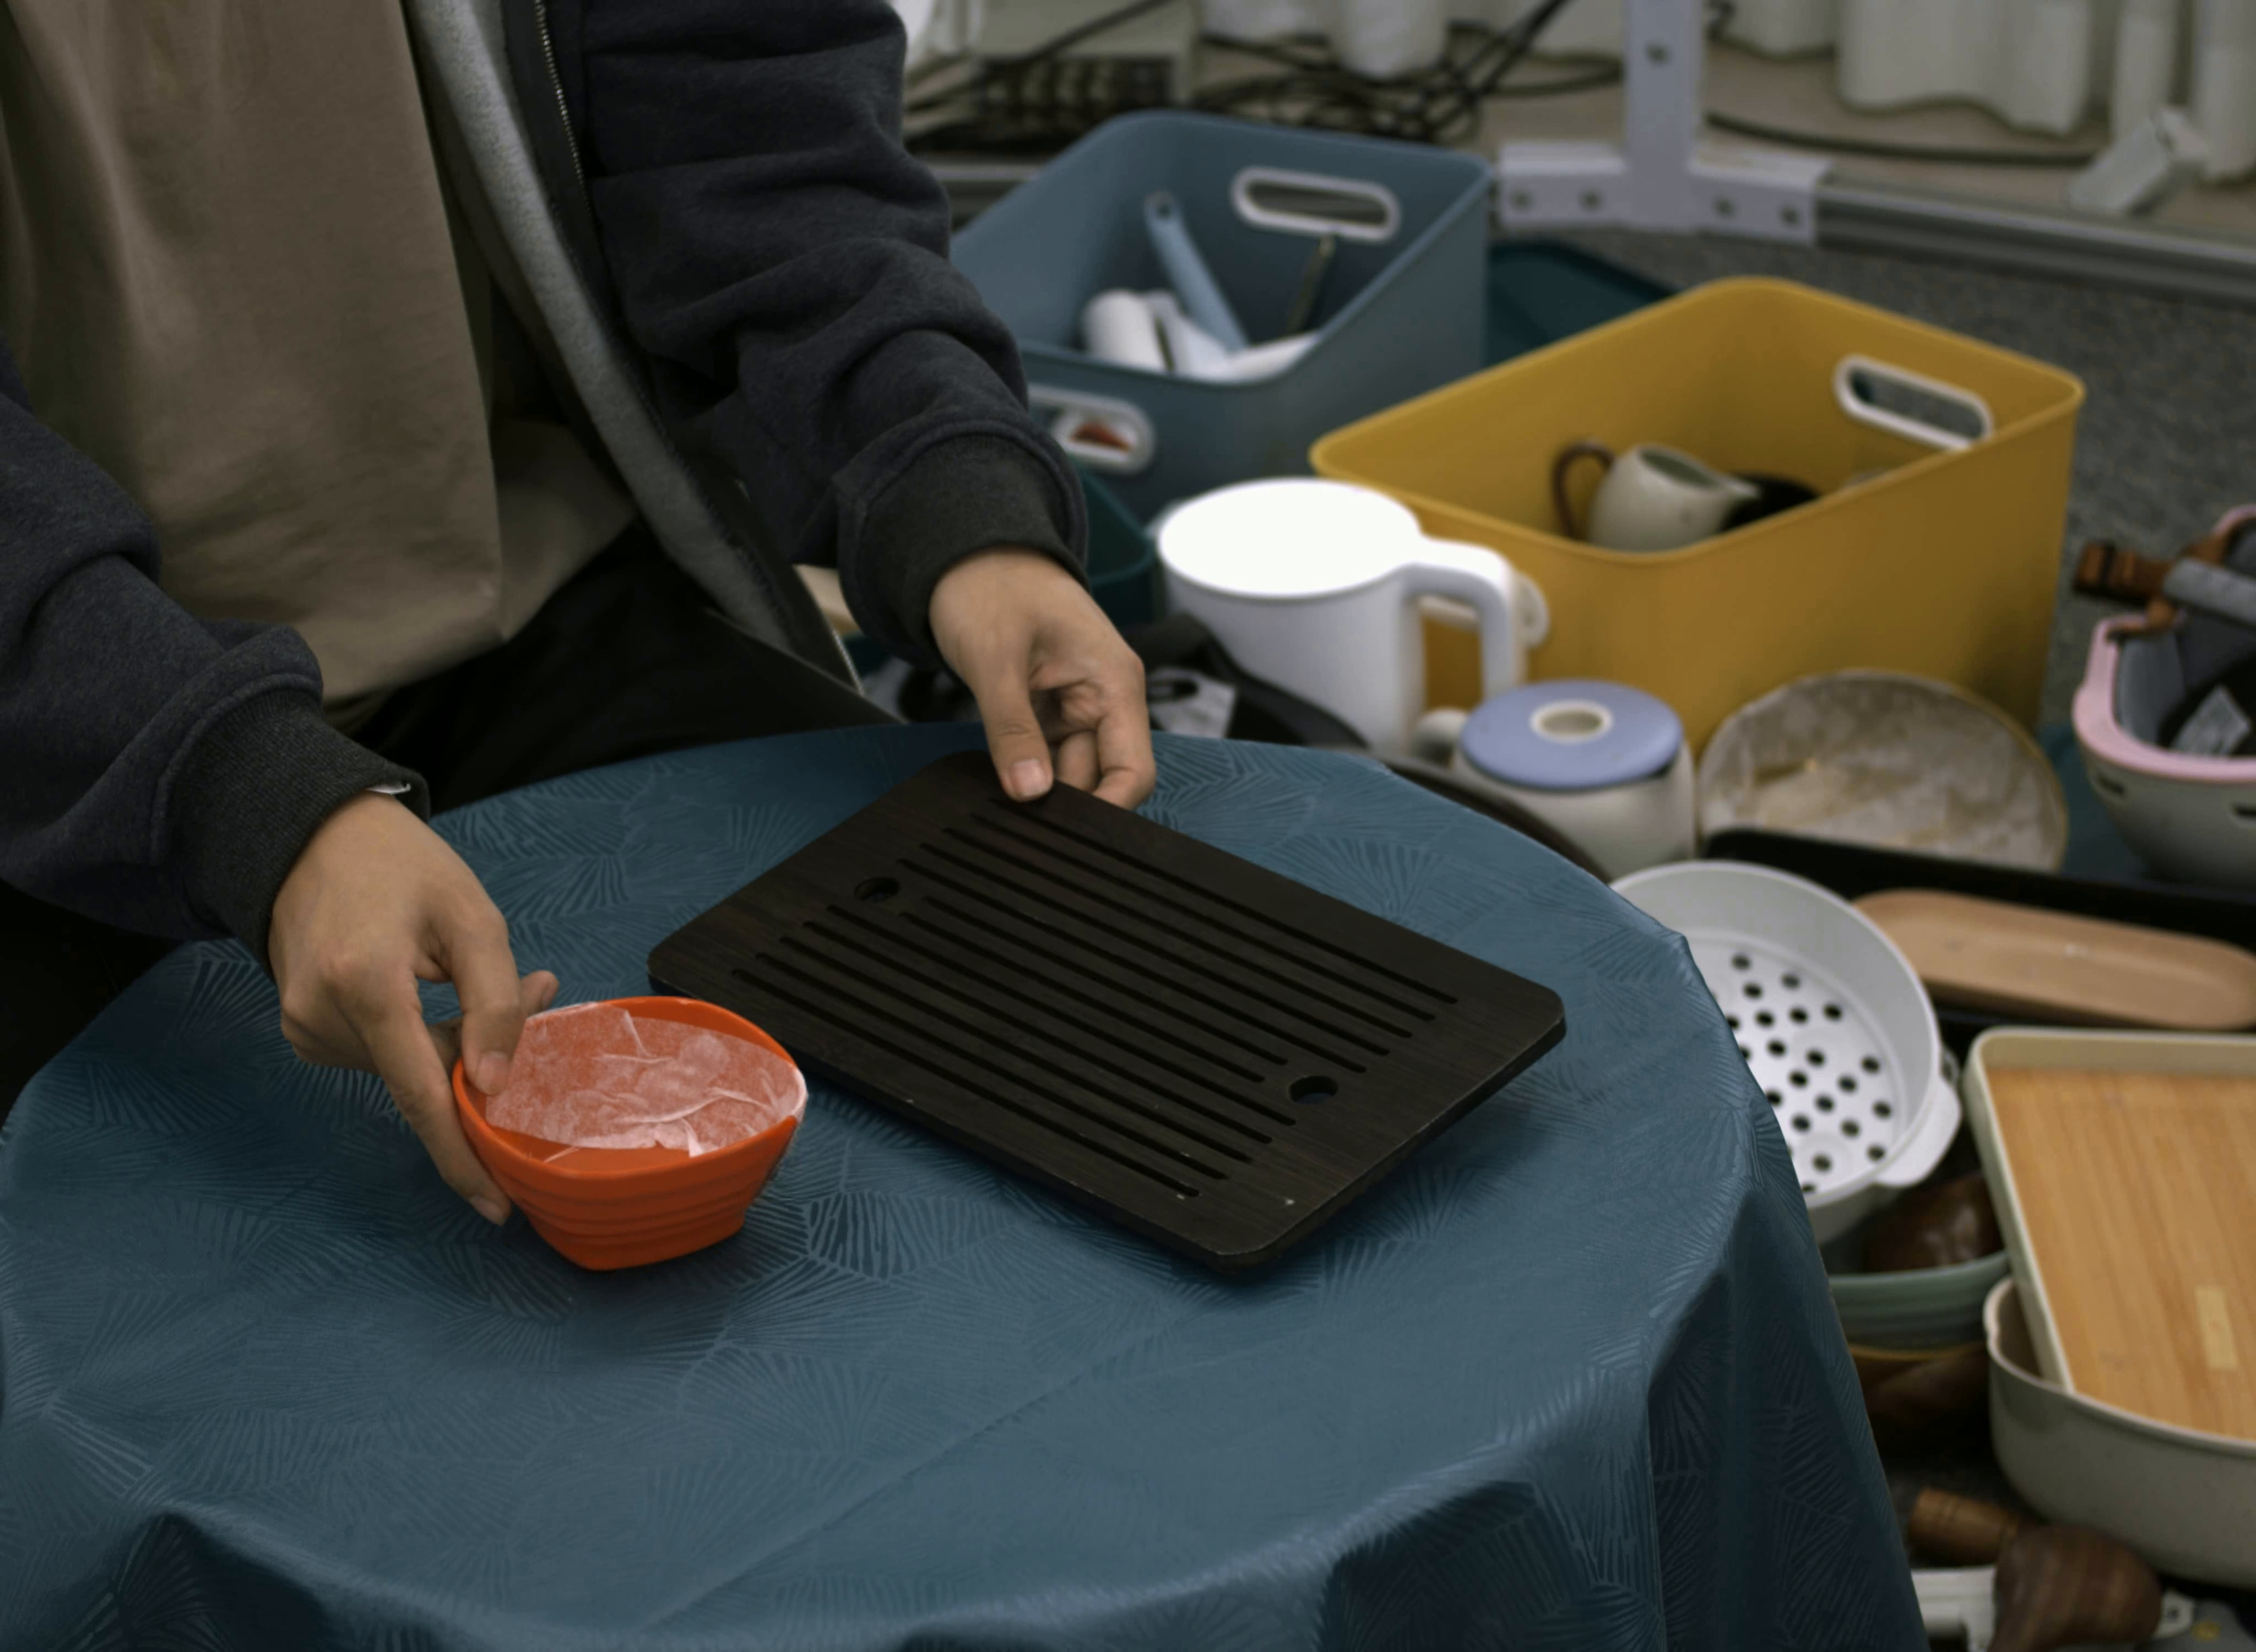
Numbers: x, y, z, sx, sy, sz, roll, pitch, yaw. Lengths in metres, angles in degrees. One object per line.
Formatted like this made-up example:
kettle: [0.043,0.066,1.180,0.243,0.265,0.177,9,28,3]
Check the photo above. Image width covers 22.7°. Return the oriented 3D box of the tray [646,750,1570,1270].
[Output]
tray: [-0.010,0.060,1.941,0.305,0.018,0.172,22,44,40]

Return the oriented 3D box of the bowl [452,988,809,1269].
bowl: [-0.163,0.104,1.844,0.118,0.051,0.121,1,29,0]
